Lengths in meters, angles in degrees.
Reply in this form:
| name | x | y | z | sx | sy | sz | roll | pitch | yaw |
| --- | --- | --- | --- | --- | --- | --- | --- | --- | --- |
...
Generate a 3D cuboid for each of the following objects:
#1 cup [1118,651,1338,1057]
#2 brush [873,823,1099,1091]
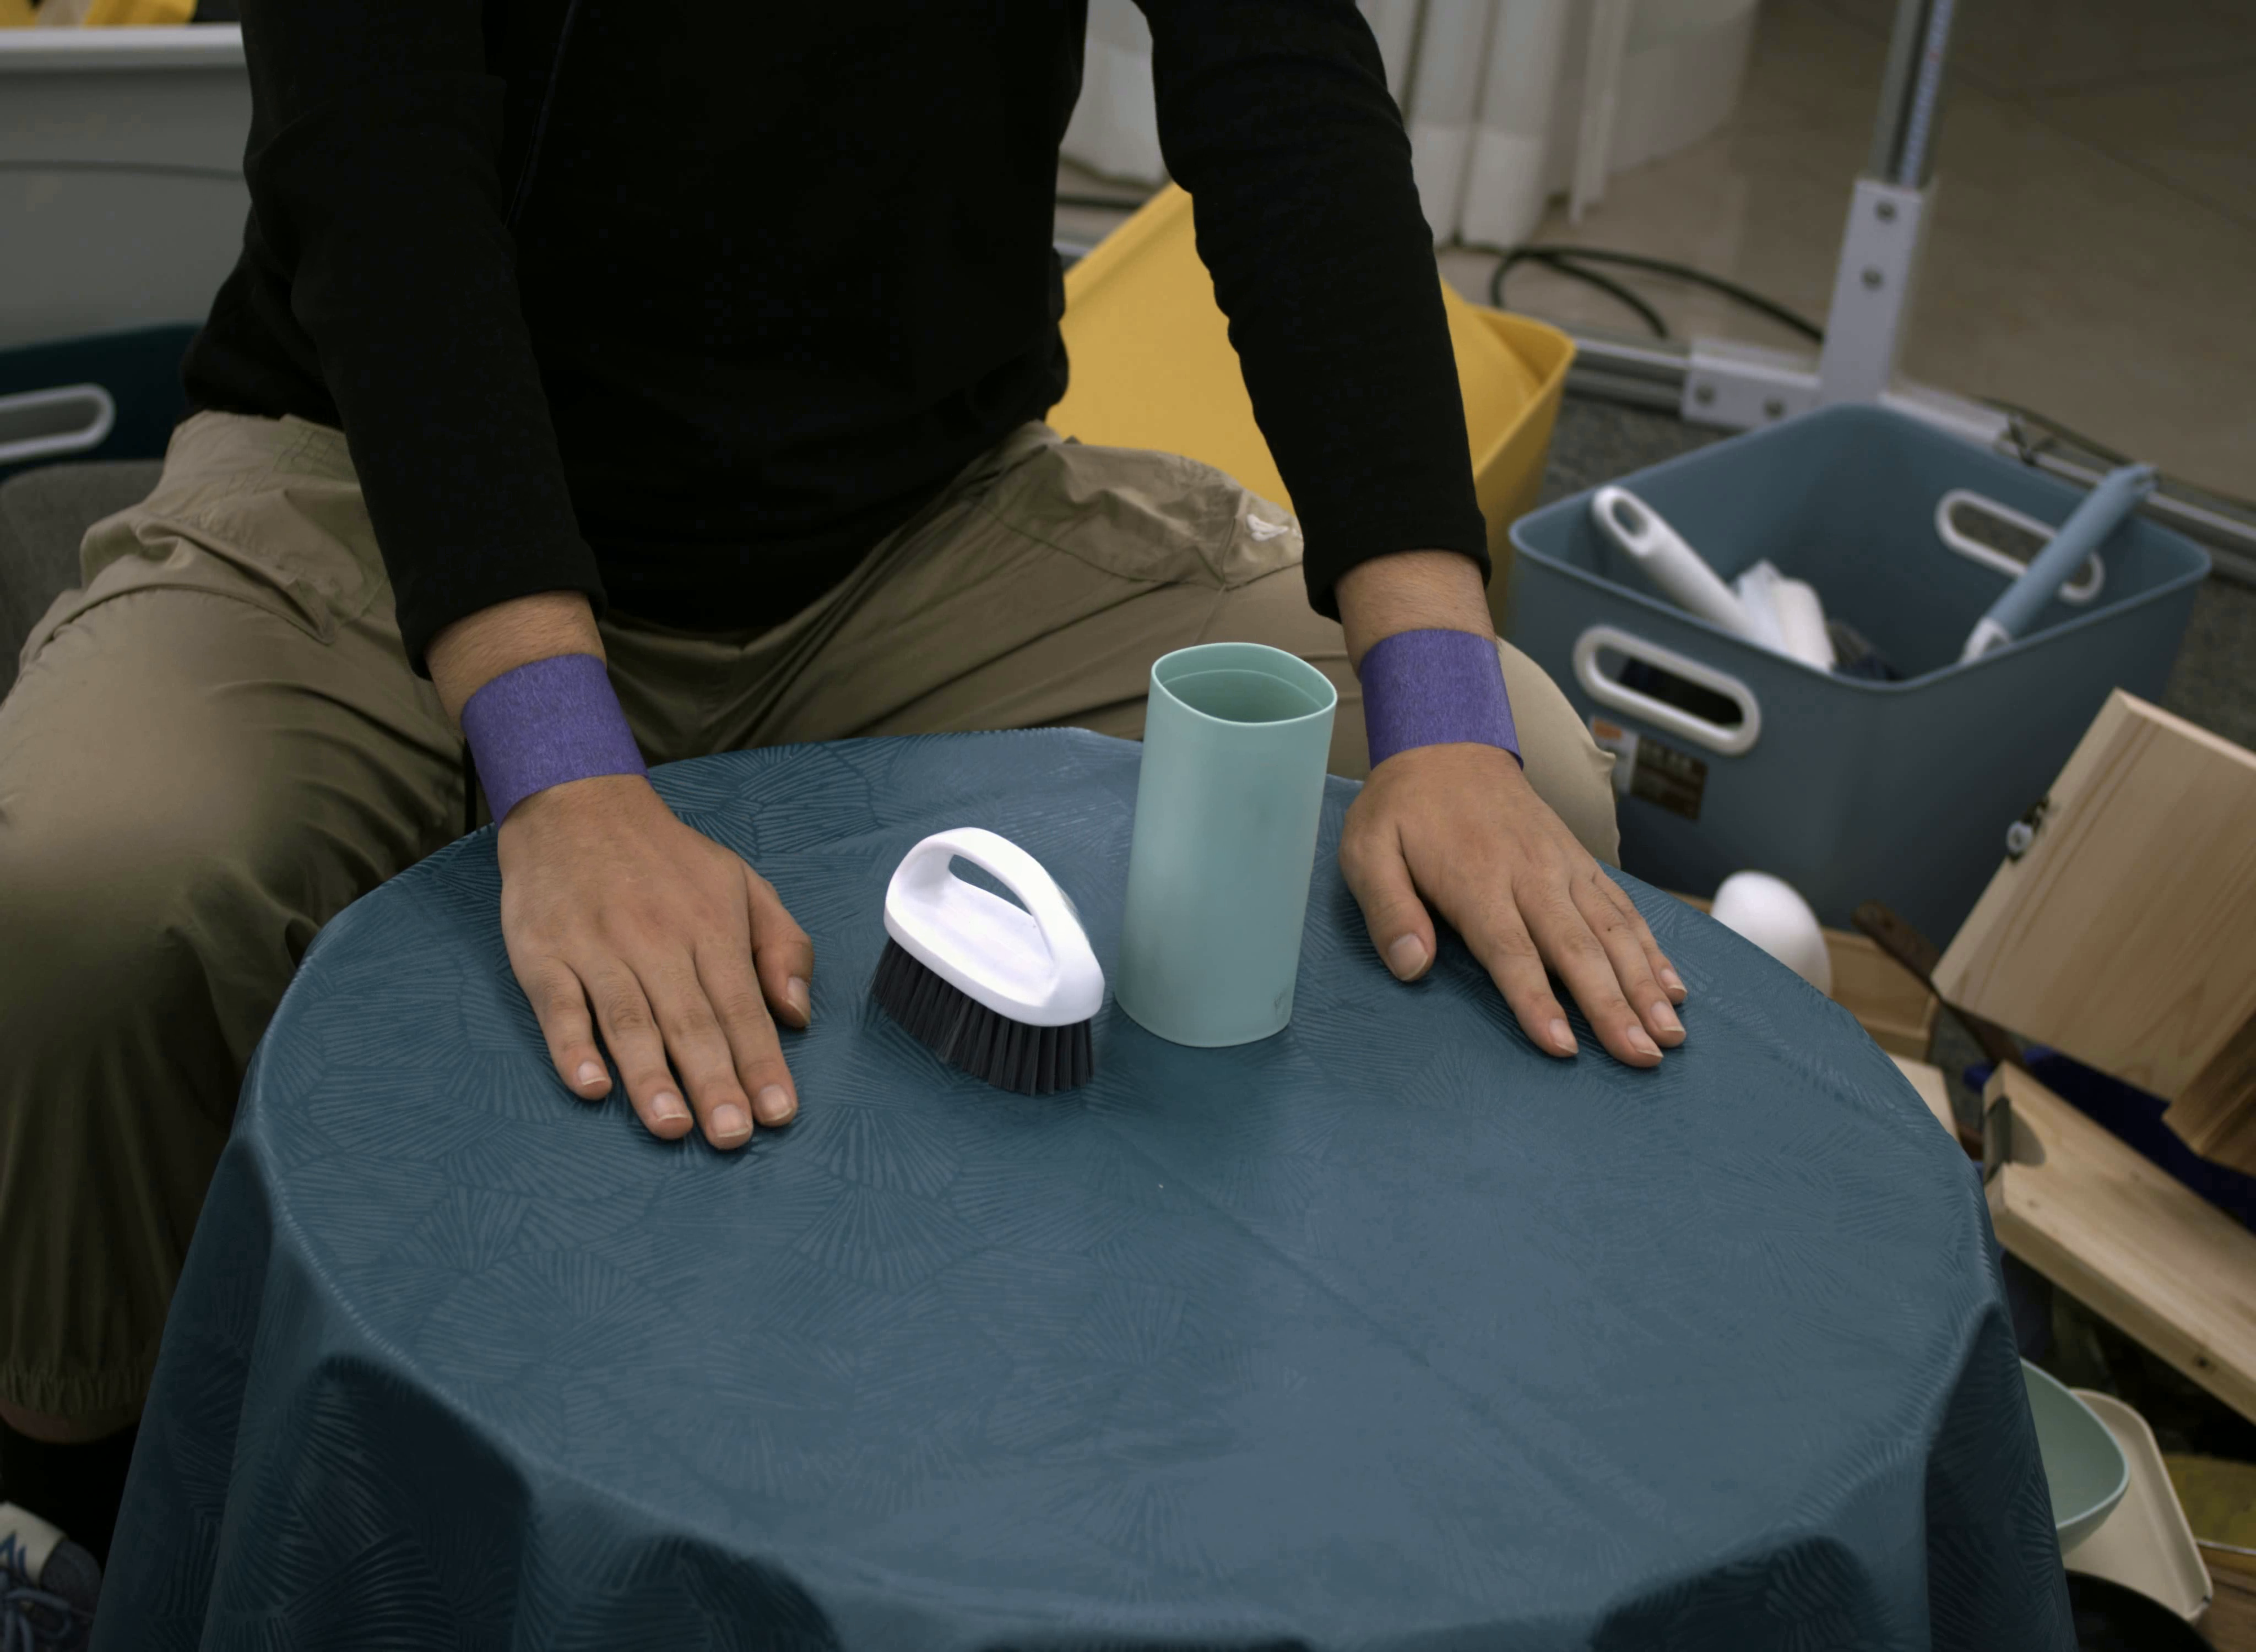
| name | x | y | z | sx | sy | sz | roll | pitch | yaw |
| --- | --- | --- | --- | --- | --- | --- | --- | --- | --- |
| cup | 0.033 | 0.010 | 1.896 | 0.066 | 0.132 | 0.067 | 5 | 27 | -3 |
| brush | -0.049 | 0.039 | 1.873 | 0.050 | 0.072 | 0.100 | -12 | 34 | -37 |
